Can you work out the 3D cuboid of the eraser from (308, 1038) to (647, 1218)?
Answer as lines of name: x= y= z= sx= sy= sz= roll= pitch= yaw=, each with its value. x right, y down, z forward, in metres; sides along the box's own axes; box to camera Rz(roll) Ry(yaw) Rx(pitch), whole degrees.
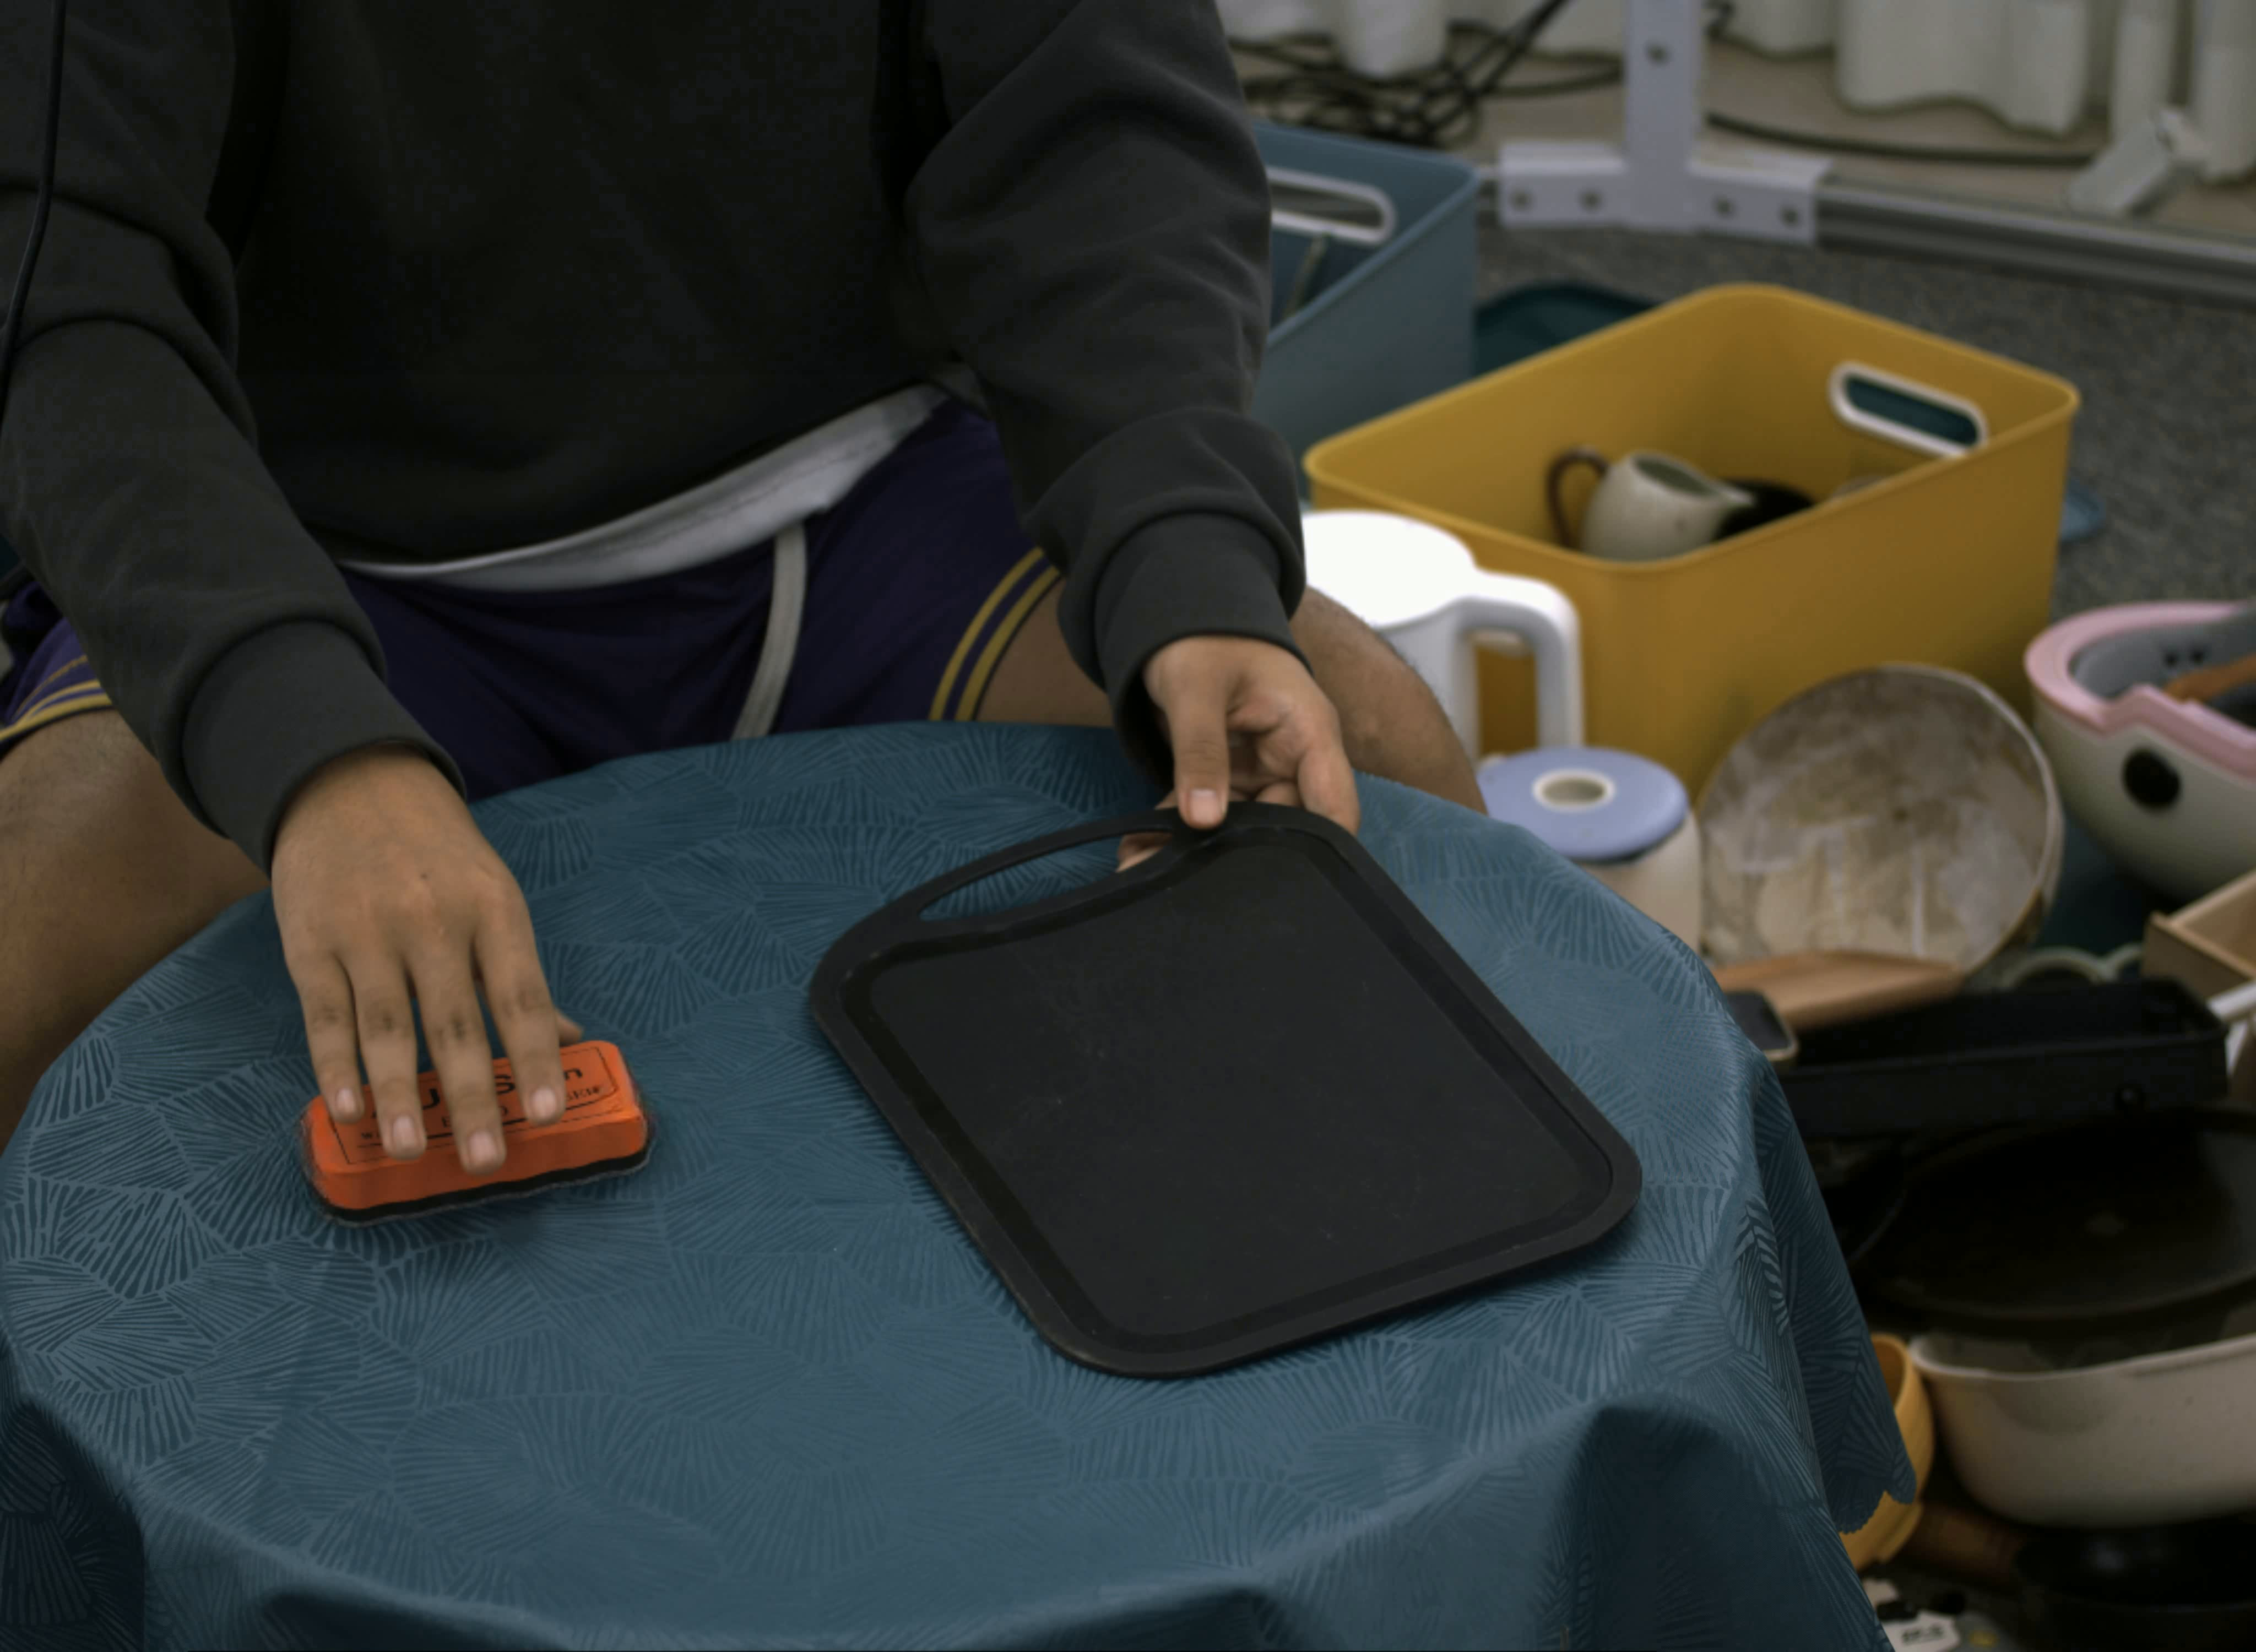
eraser: x=-0.219 y=0.102 z=1.891 sx=0.108 sy=0.022 sz=0.059 roll=-10 pitch=28 yaw=-16

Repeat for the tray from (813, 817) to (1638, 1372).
tray: x=0.023 y=0.081 z=1.912 sx=0.211 sy=0.009 sz=0.328 roll=-16 pitch=31 yaw=-16
